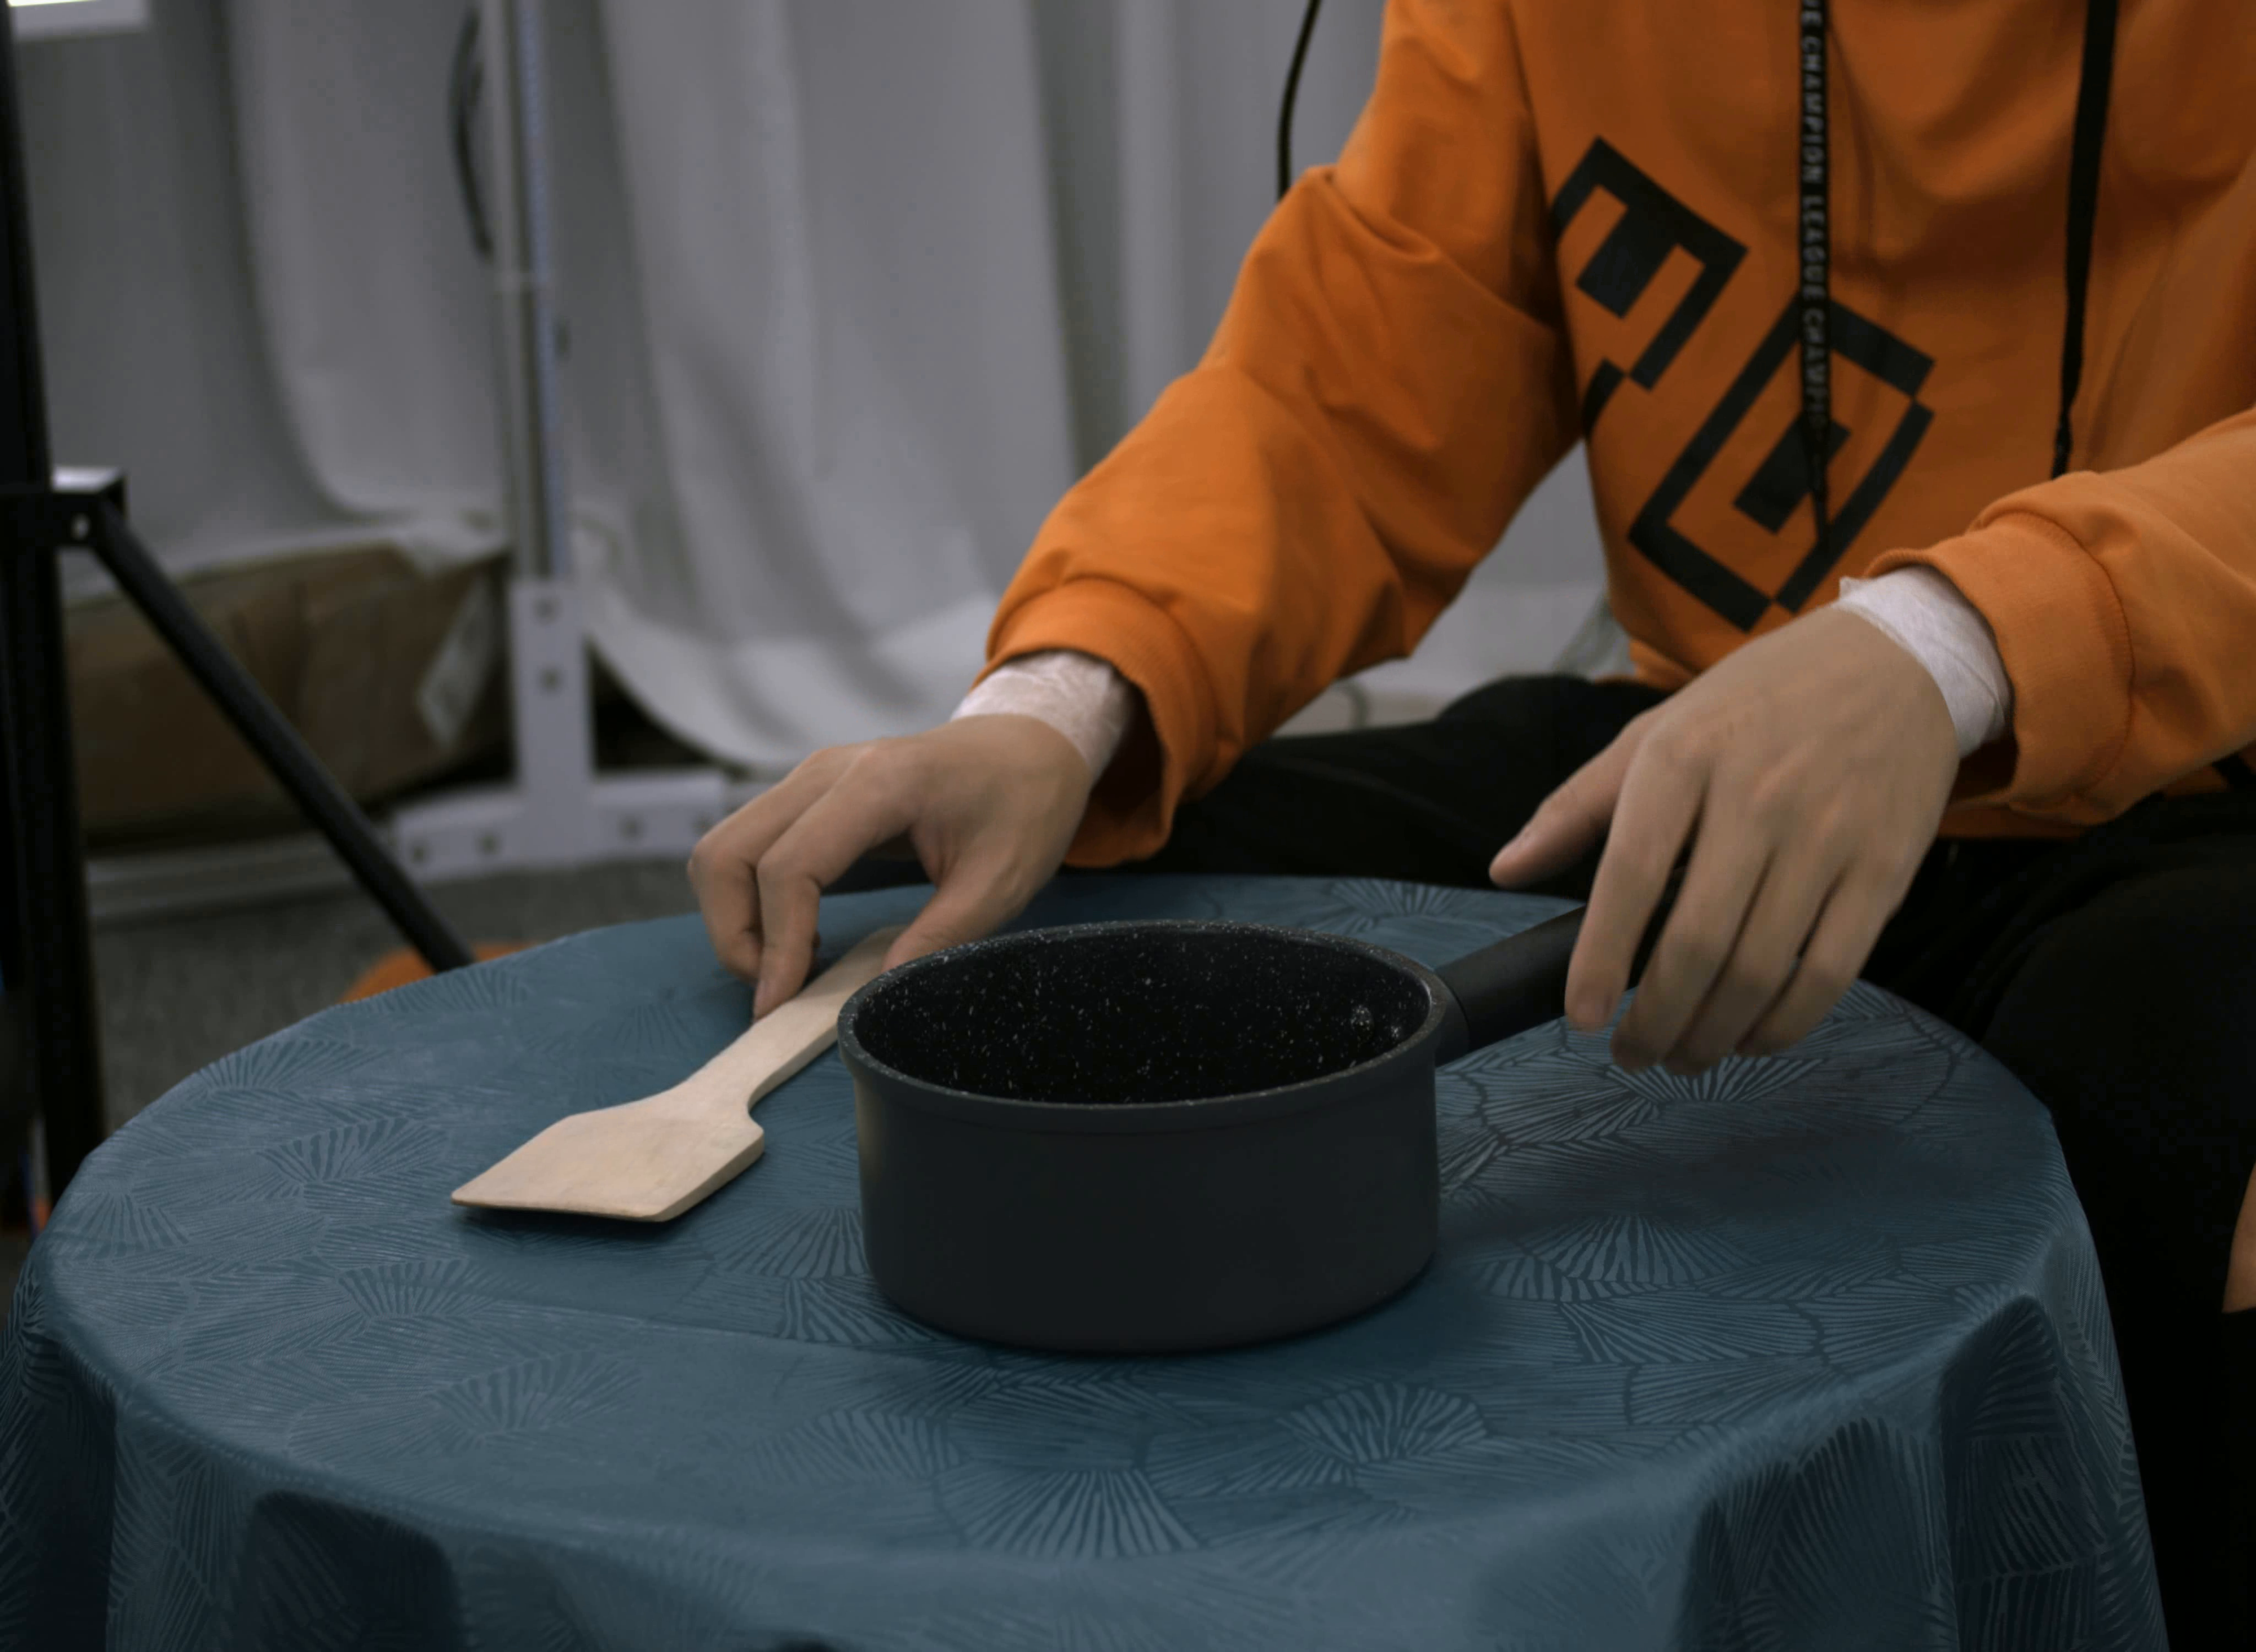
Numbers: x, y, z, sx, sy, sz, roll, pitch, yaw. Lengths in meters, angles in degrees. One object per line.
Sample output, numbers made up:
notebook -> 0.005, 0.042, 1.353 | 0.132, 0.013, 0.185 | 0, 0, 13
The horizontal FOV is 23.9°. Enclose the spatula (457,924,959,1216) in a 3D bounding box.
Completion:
spatula -> -0.118, 0.075, 1.679 | 0.073, 0.010, 0.289 | 0, 16, 21

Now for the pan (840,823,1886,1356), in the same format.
pan -> 0.075, 0.070, 1.523 | 0.322, 0.086, 0.175 | -12, 18, -24
